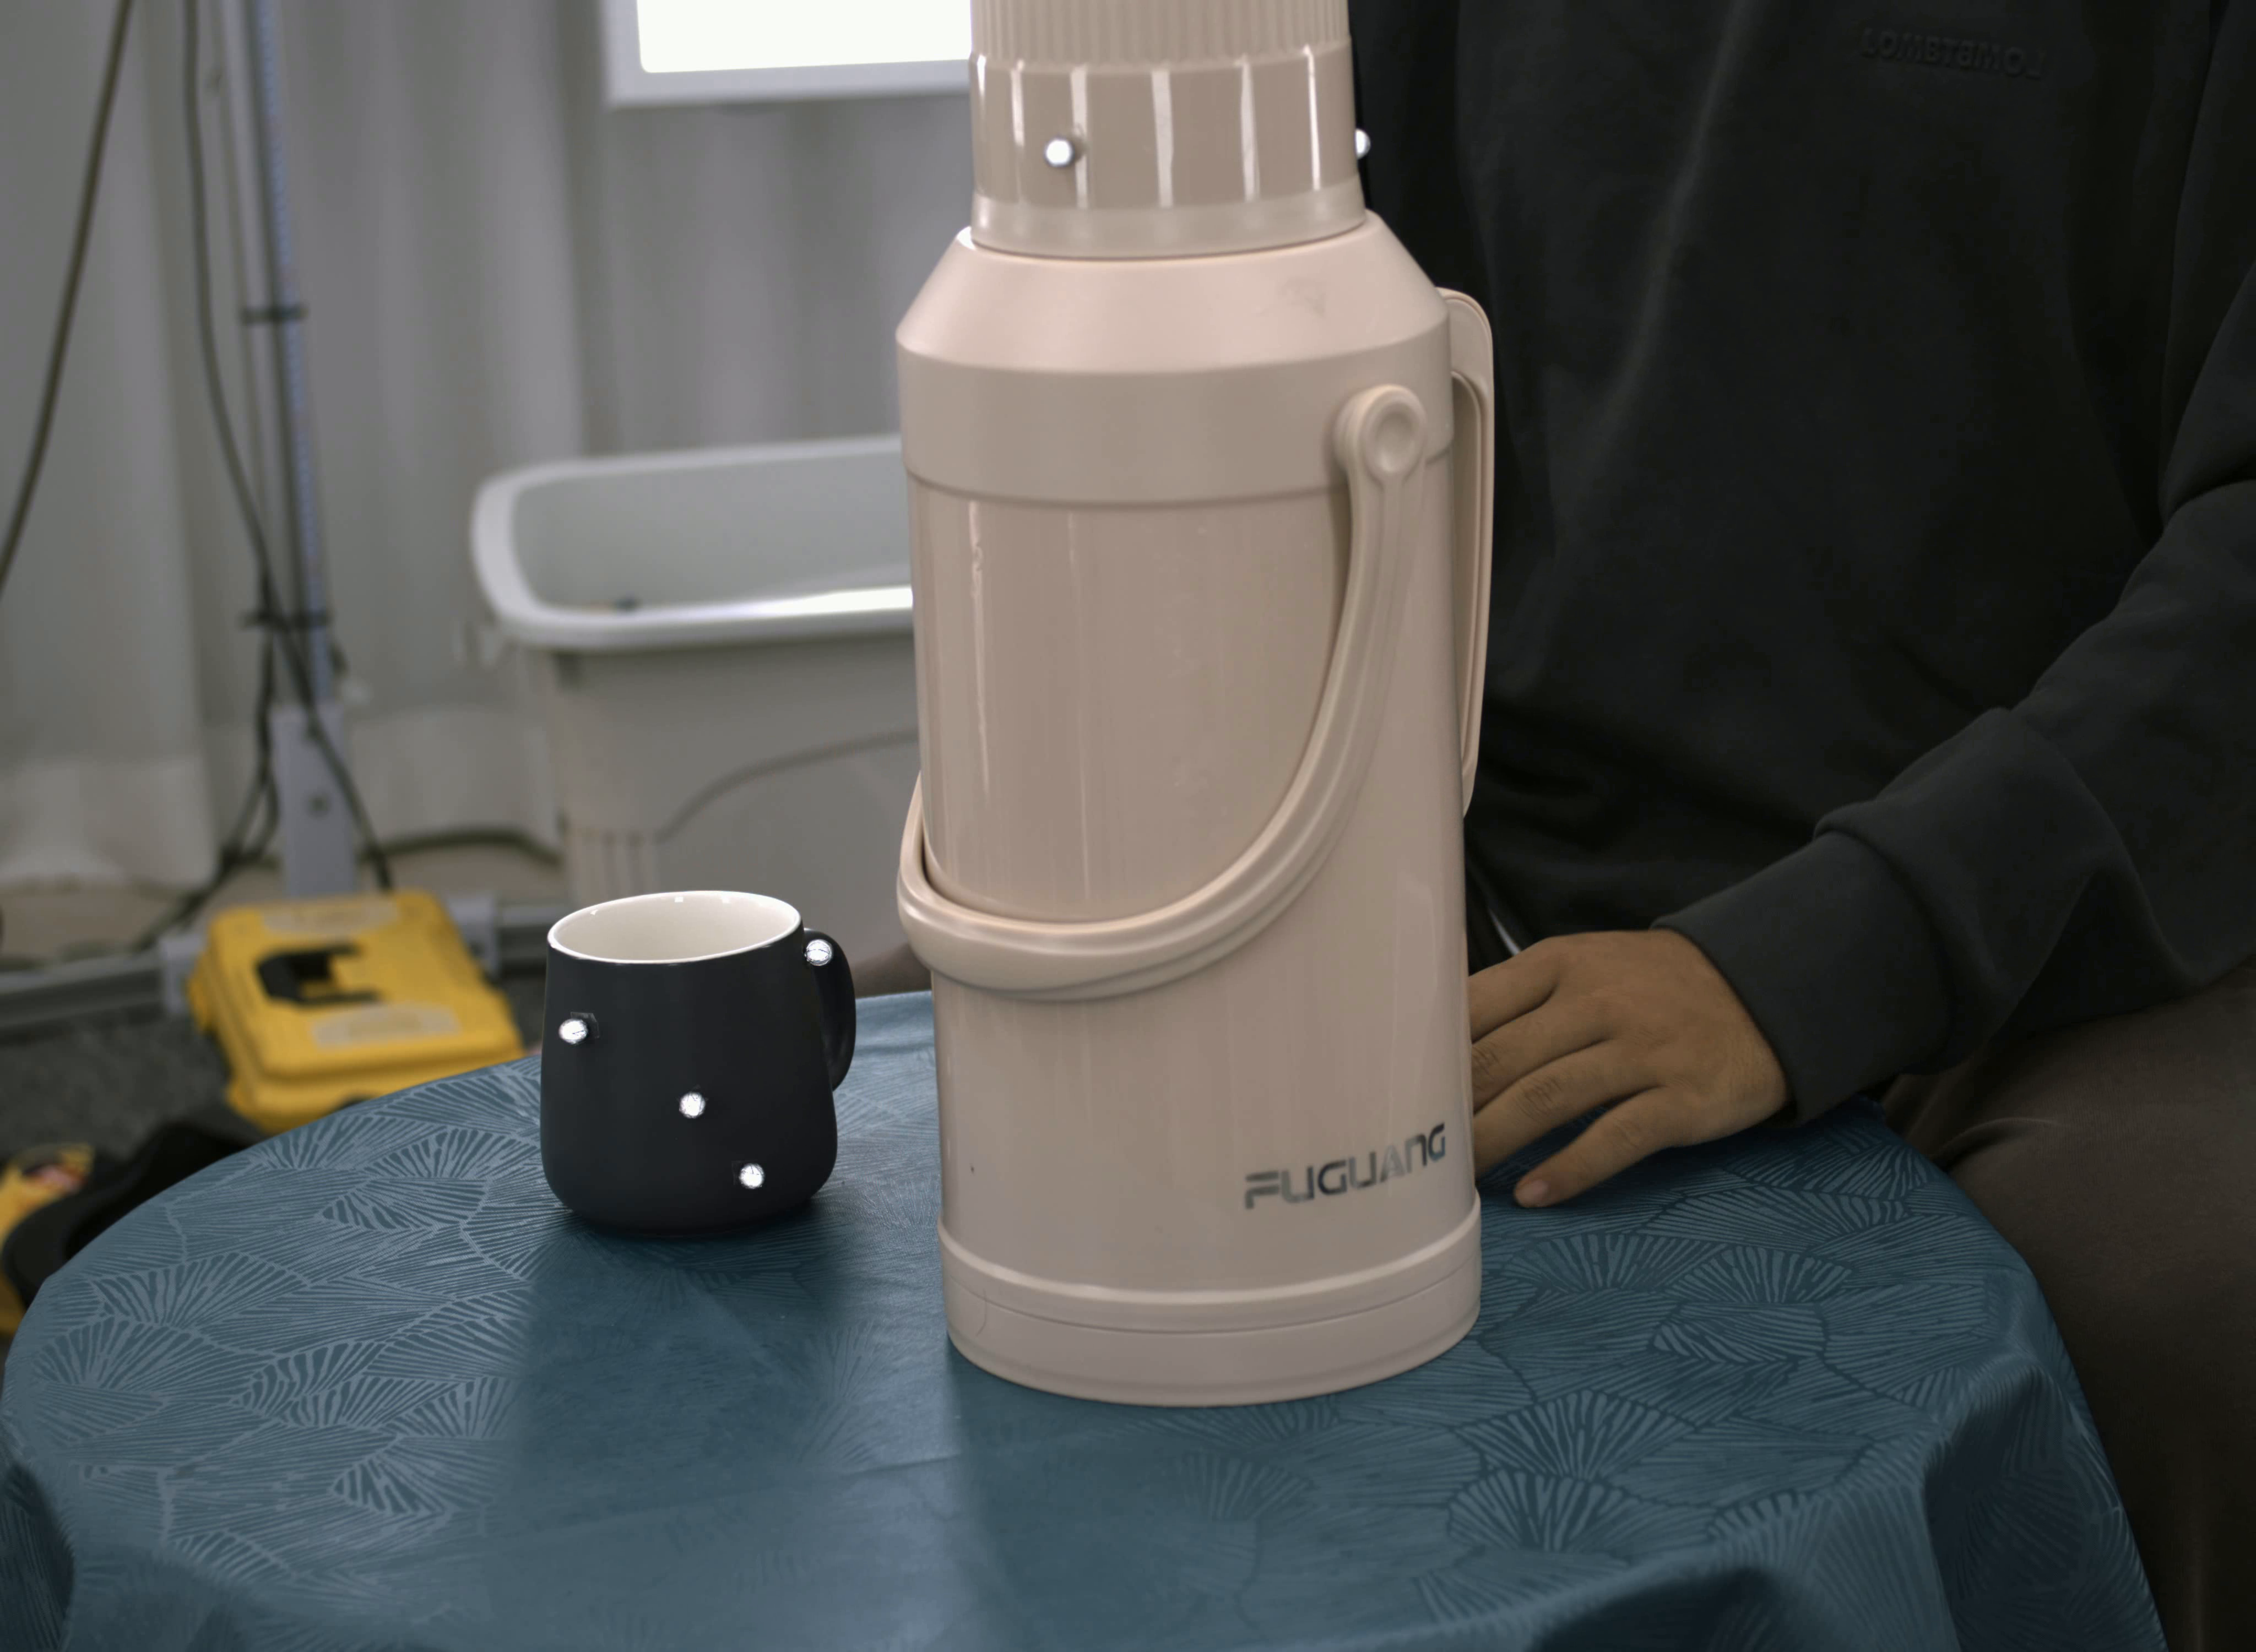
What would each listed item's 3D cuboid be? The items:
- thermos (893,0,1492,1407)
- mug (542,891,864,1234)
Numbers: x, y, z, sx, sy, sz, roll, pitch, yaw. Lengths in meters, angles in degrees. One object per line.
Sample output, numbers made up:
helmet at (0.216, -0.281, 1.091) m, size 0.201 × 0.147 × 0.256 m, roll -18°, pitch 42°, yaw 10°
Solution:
thermos at (0.027, -0.052, 1.571) m, size 0.206 × 0.405 × 0.176 m, roll -15°, pitch 18°, yaw -40°
mug at (-0.129, 0.071, 1.728) m, size 0.094 × 0.089 × 0.123 m, roll 10°, pitch 19°, yaw 39°
